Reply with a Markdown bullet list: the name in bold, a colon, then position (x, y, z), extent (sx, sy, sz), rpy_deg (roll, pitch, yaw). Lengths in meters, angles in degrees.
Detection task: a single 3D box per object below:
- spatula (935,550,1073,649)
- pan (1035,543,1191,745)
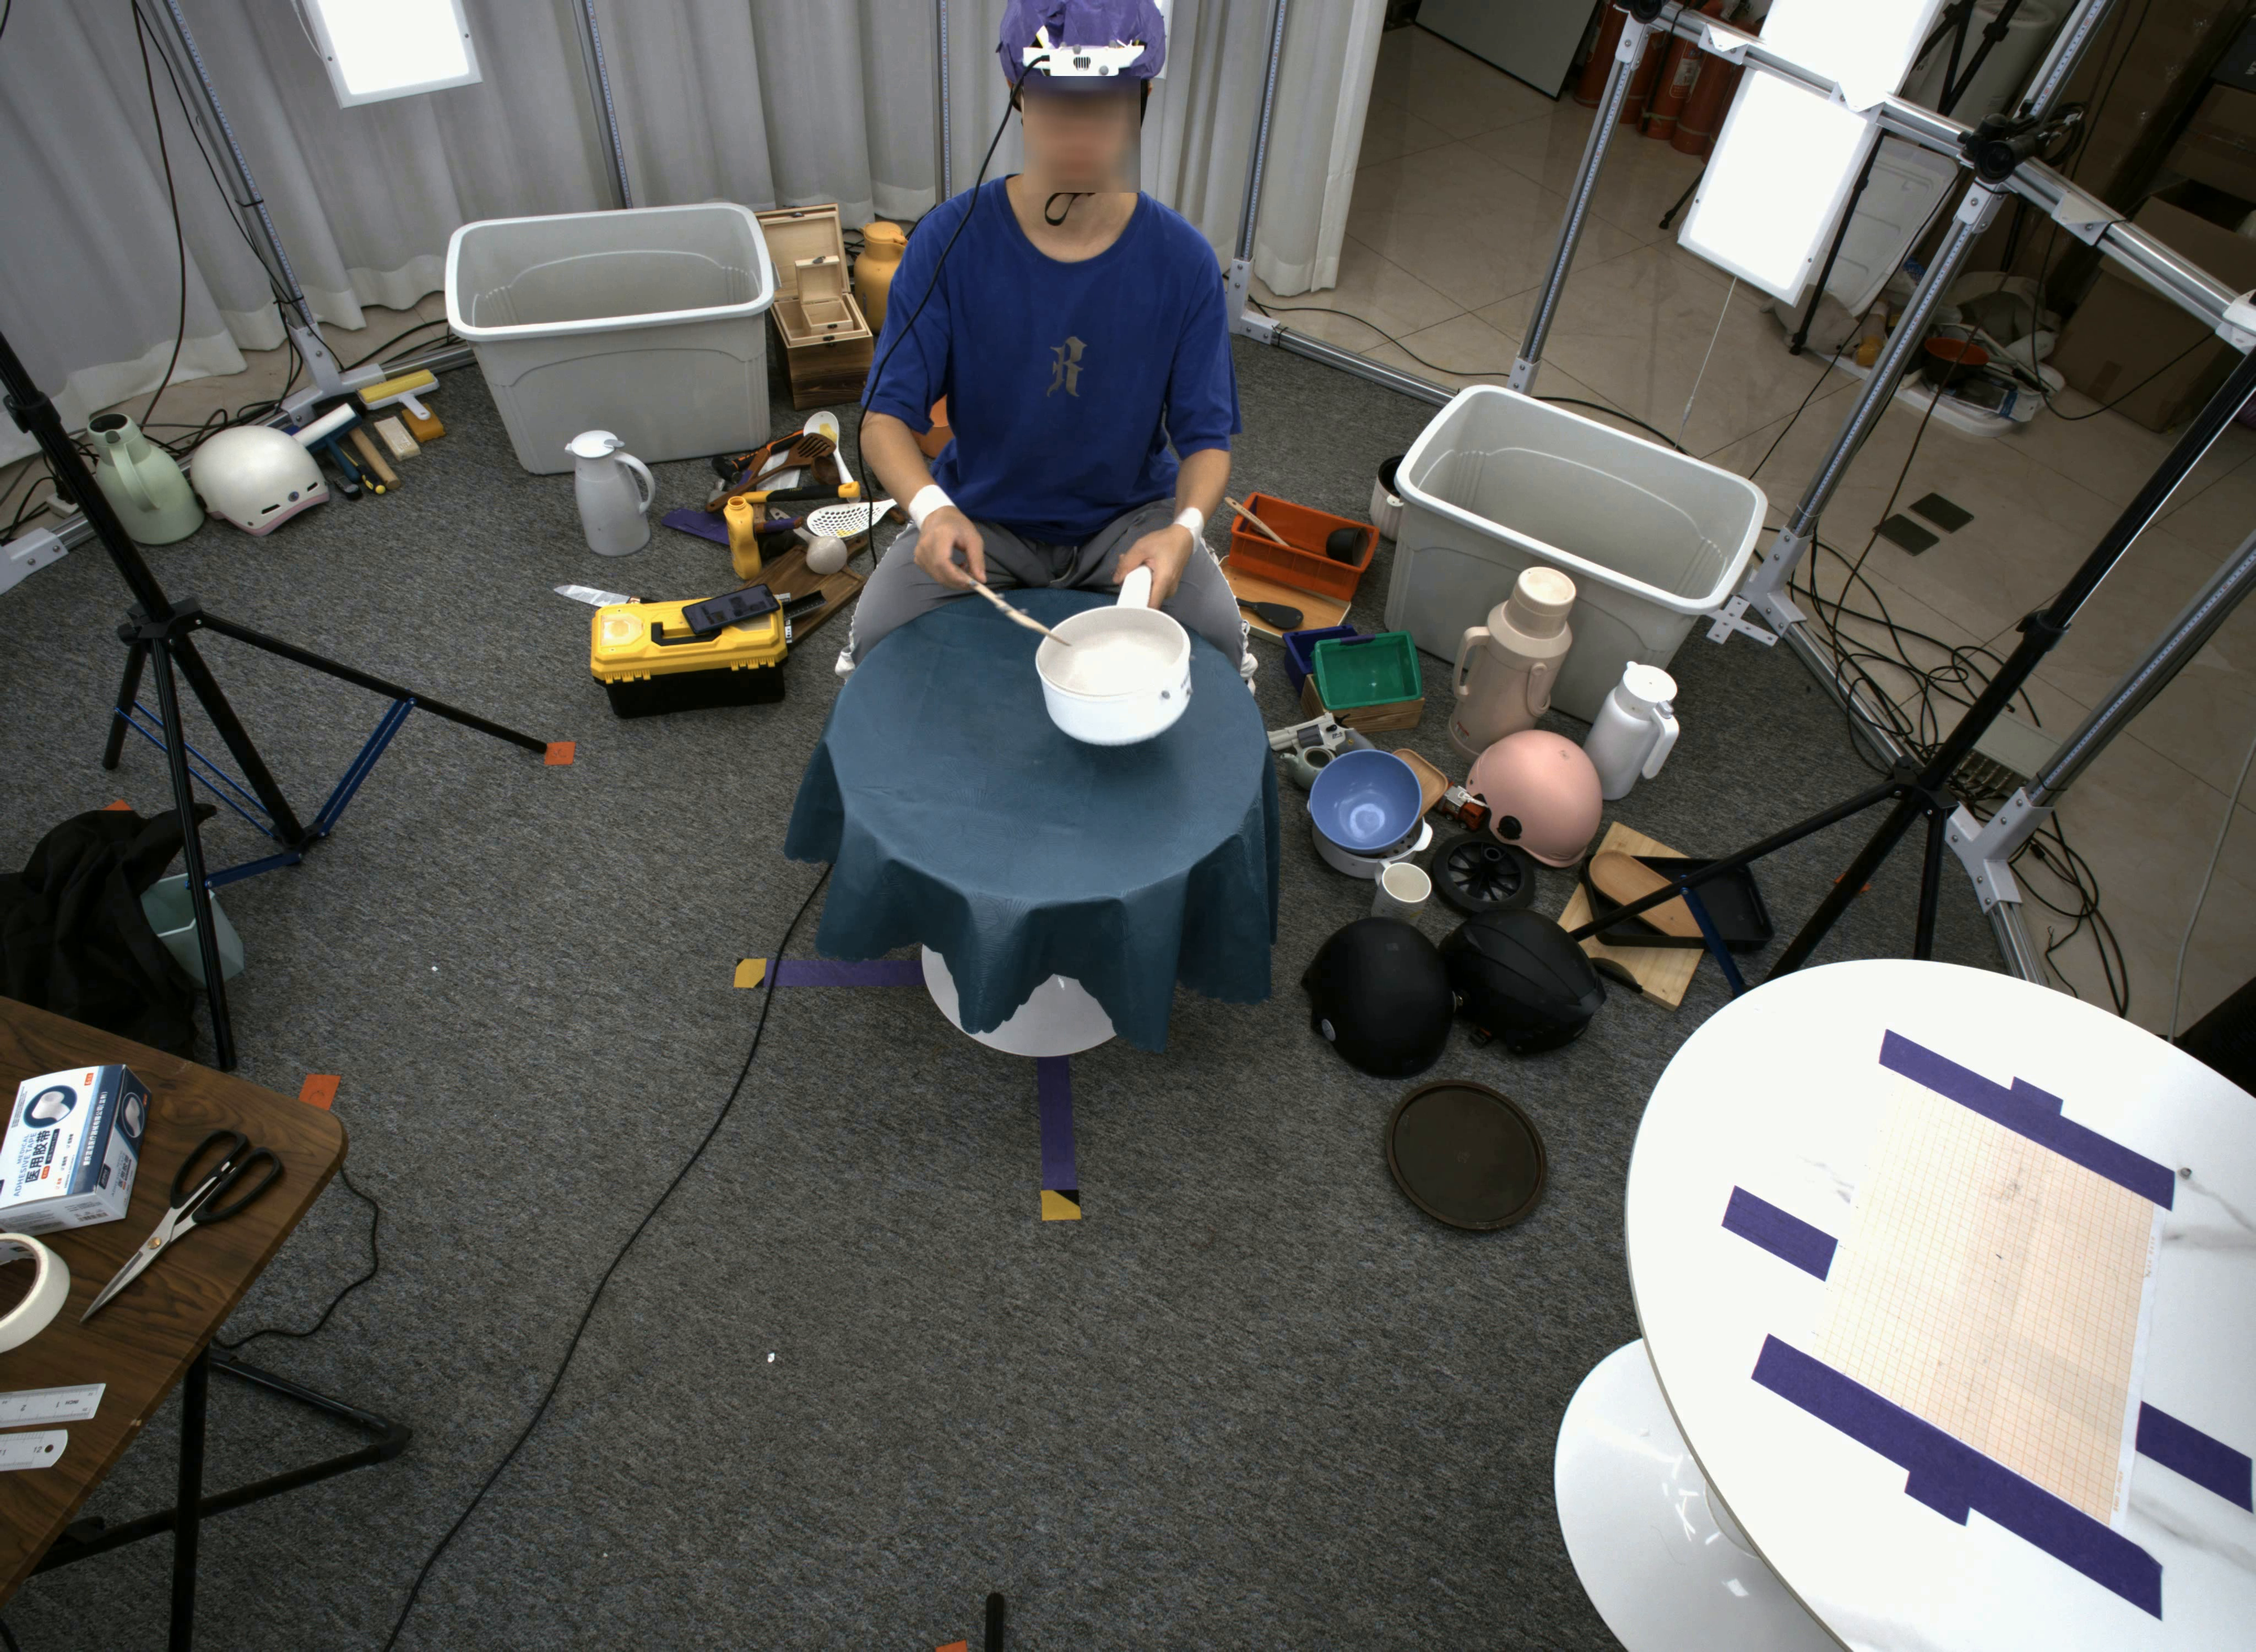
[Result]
- **spatula**: position (-0.175, -0.304, 1.689), extent (0.071, 0.010, 0.298), rpy_deg (21, 15, -48)
- **pan**: position (-0.001, -0.249, 1.754), extent (0.201, 0.099, 0.363), rpy_deg (0, 43, 15)
